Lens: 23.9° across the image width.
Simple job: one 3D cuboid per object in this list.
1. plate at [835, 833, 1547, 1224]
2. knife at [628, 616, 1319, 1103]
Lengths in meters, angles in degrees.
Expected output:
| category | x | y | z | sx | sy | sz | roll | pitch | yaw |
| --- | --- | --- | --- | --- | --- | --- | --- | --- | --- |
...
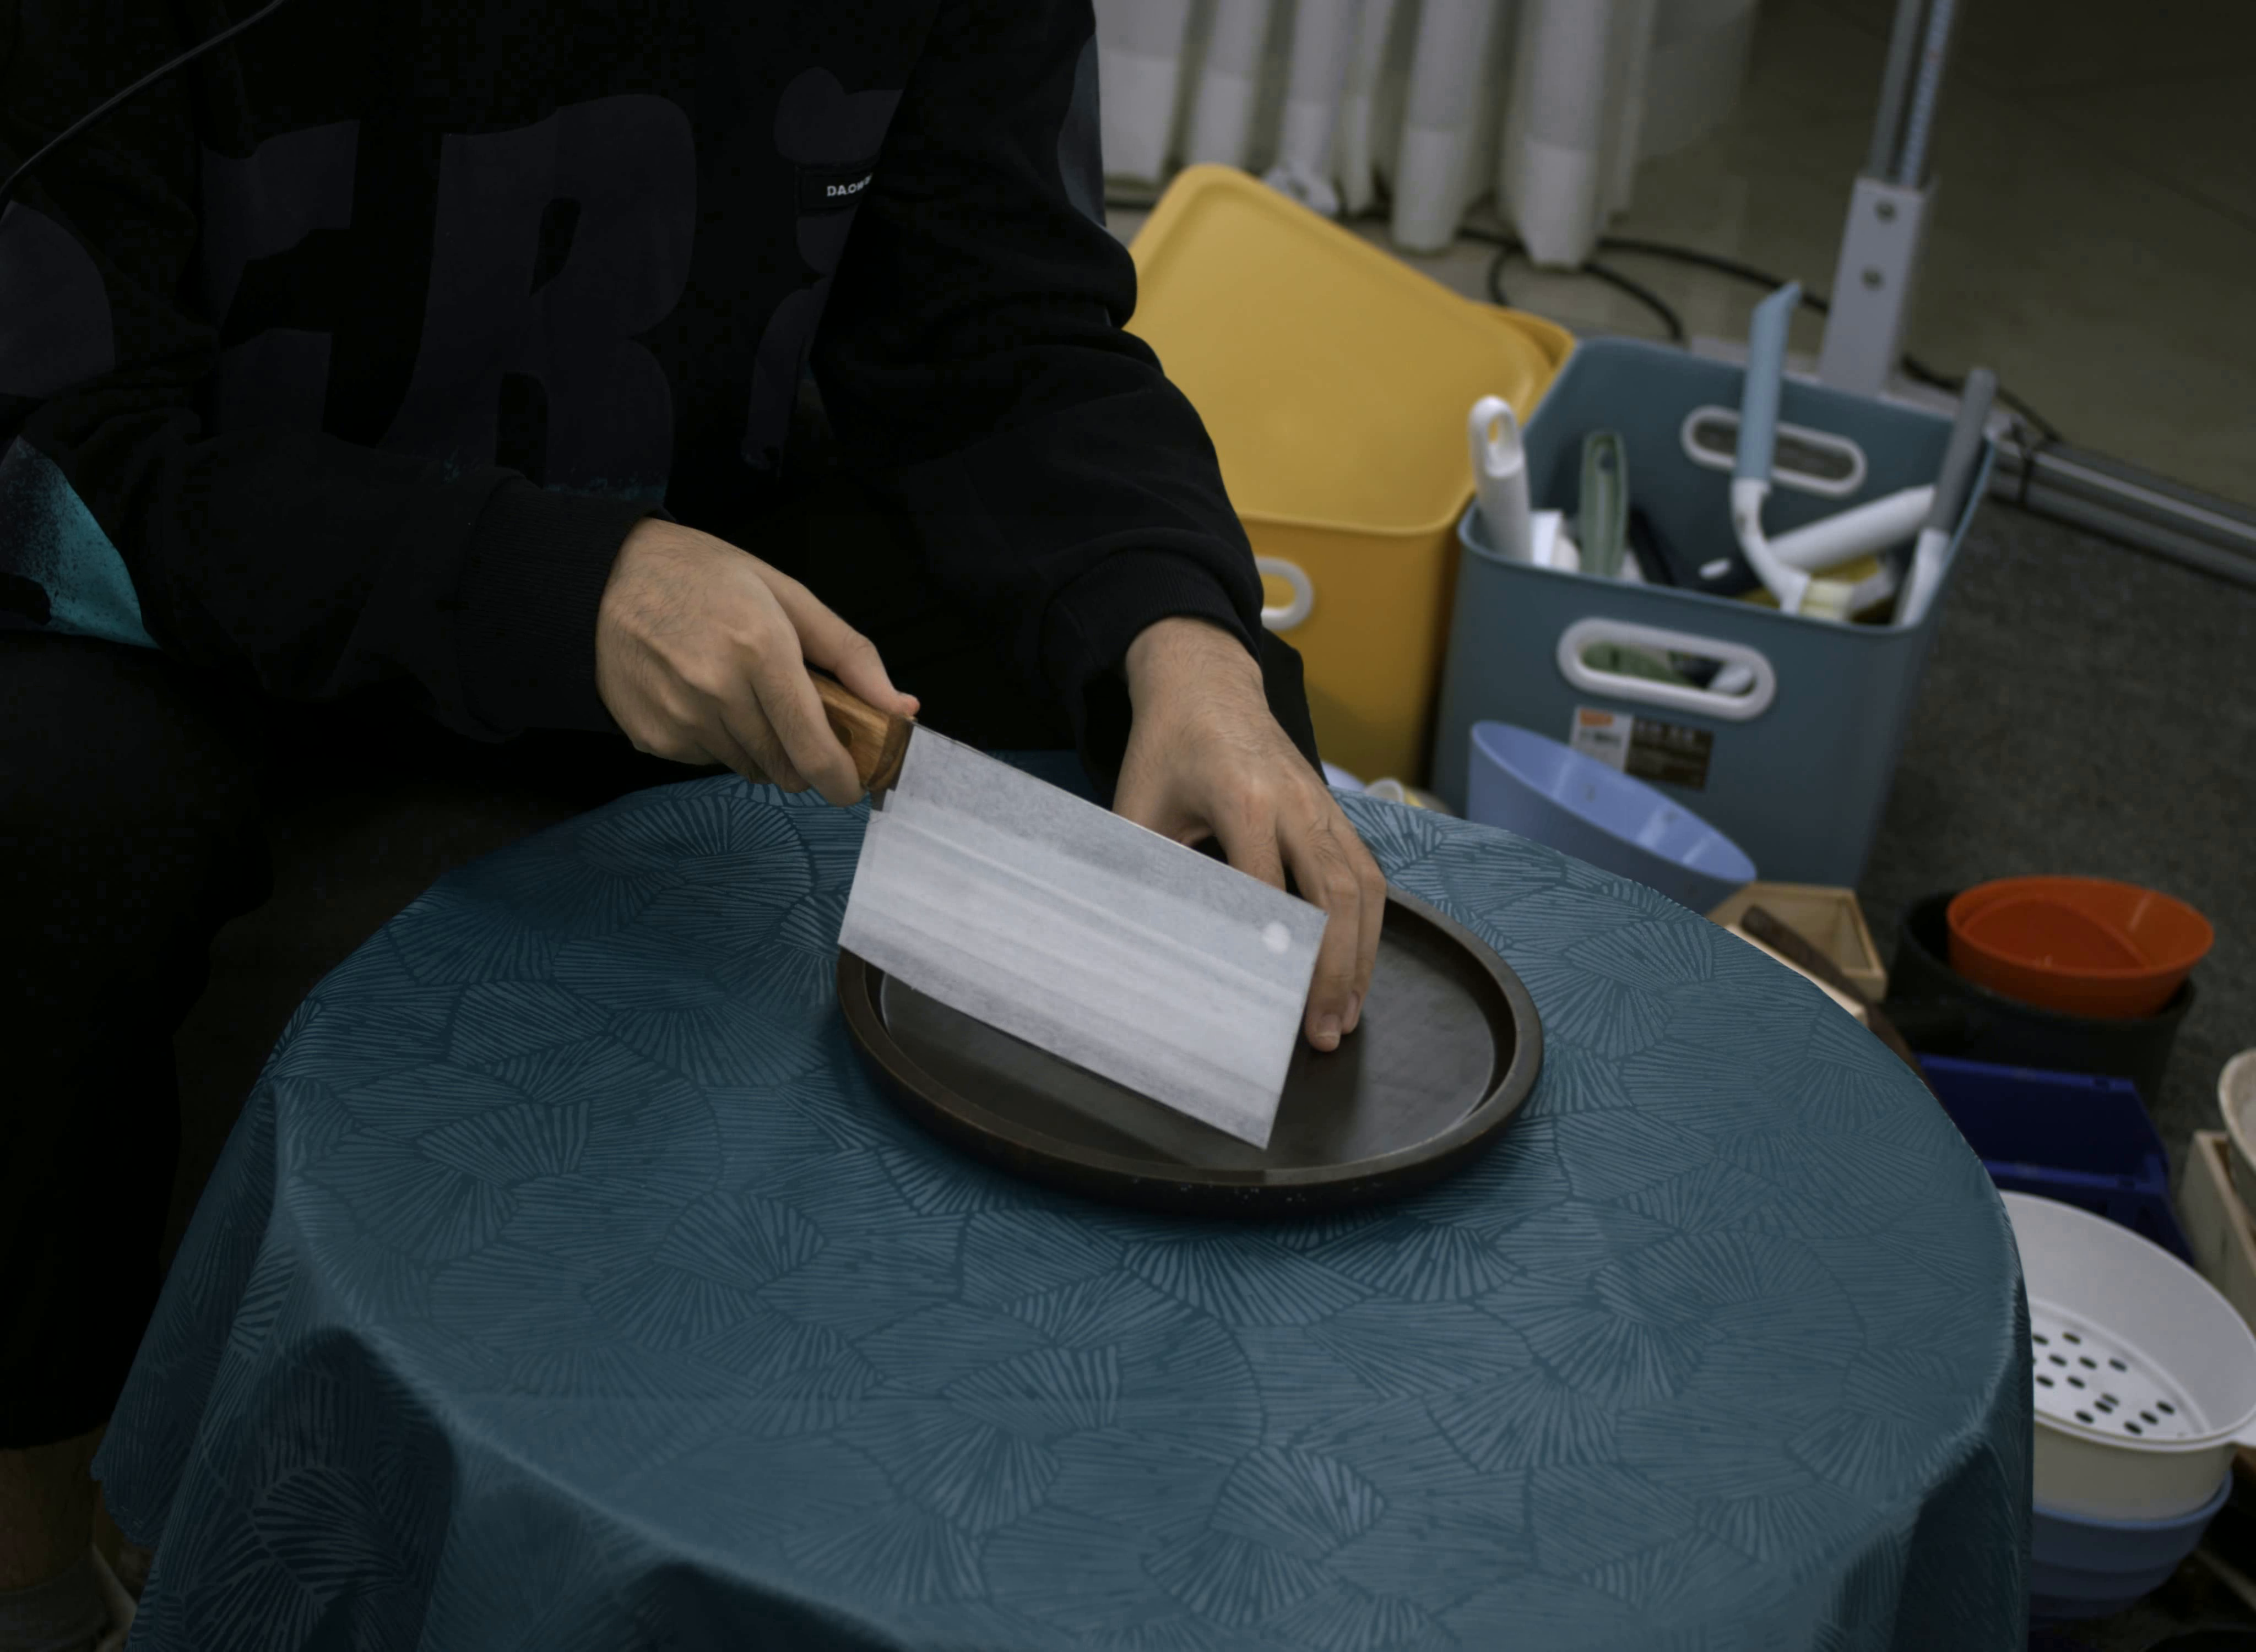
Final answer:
| category | x | y | z | sx | sy | sz | roll | pitch | yaw |
| --- | --- | --- | --- | --- | --- | --- | --- | --- | --- |
| plate | 0.021 | 0.069 | 1.885 | 0.254 | 0.029 | 0.256 | 4 | 29 | -3 |
| knife | -0.063 | 0.013 | 1.857 | 0.308 | 0.093 | 0.021 | 25 | 20 | 31 |
